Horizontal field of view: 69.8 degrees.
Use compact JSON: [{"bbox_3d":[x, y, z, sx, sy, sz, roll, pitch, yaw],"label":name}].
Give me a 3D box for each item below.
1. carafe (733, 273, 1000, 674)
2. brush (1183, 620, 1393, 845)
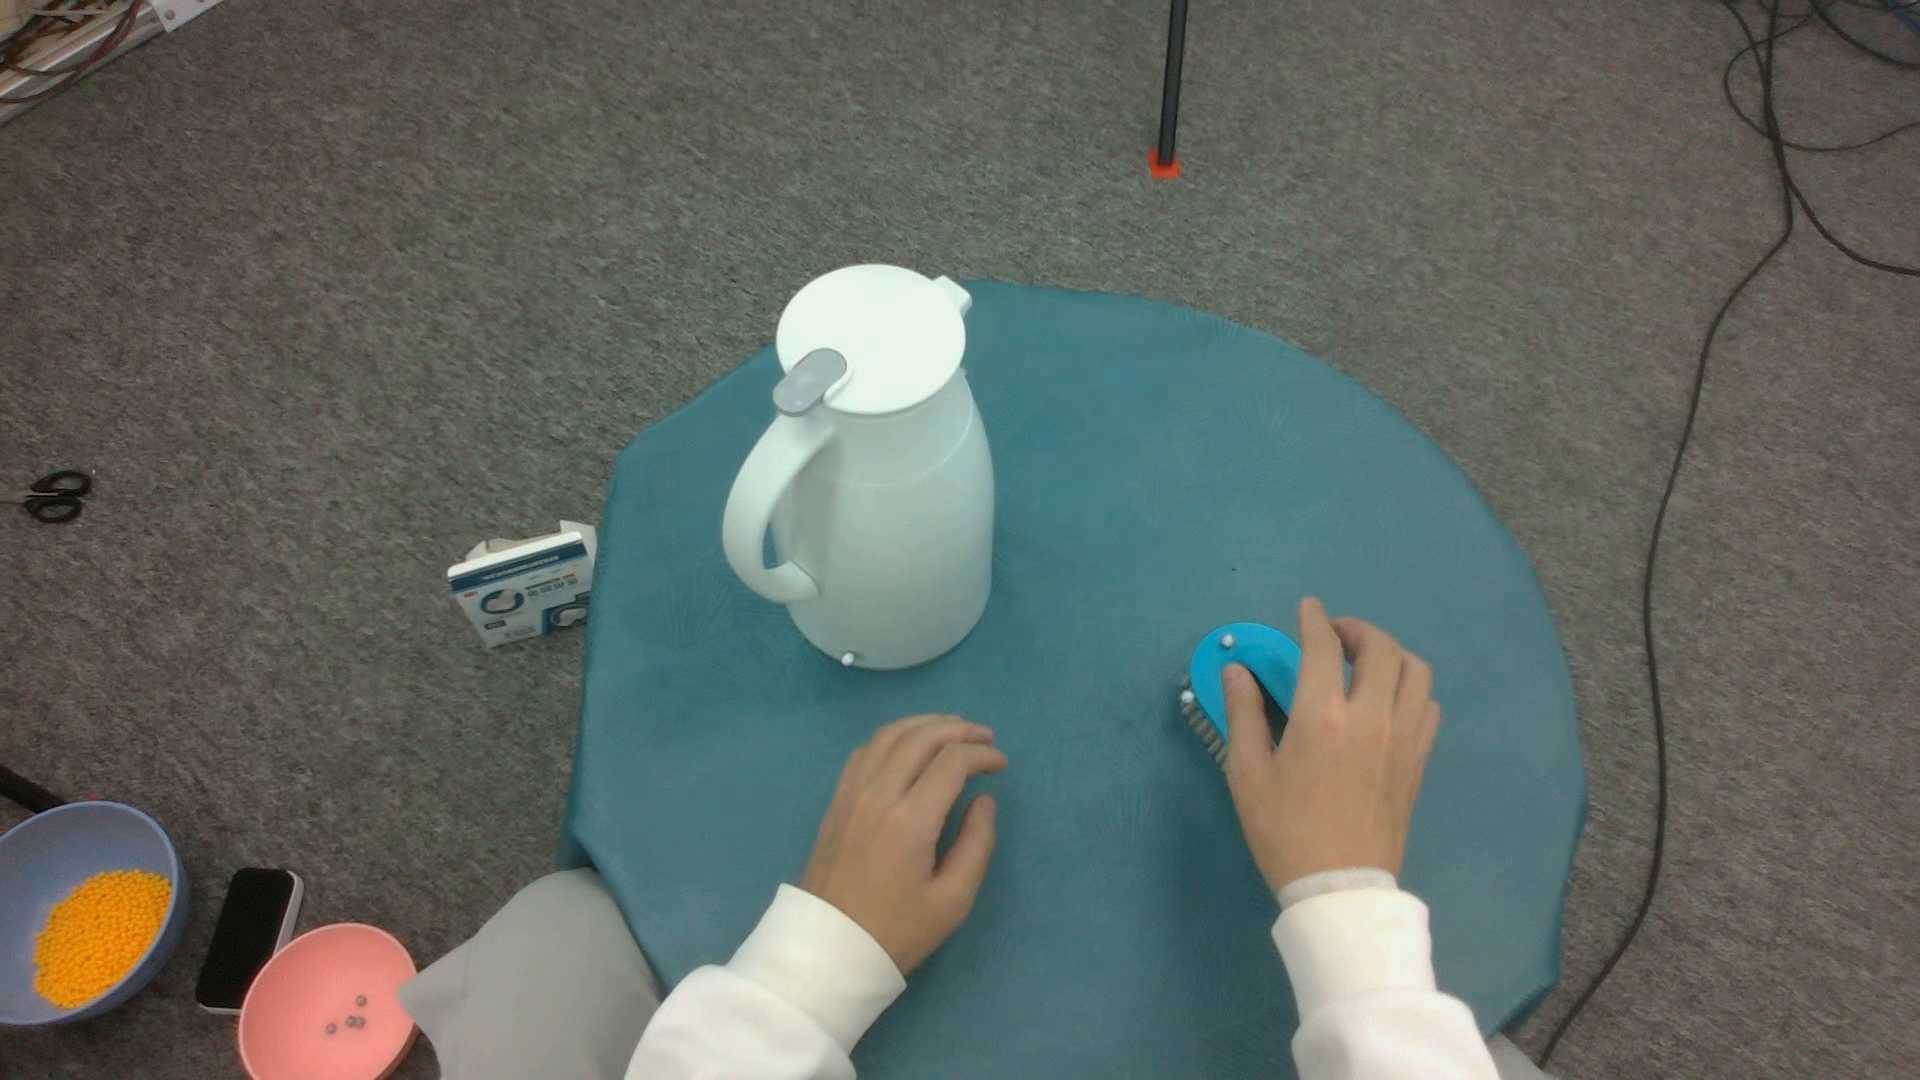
[{"bbox_3d":[-0.053,-0.024,0.767,0.132,0.247,0.168,36,66,20],"label":"carafe"},{"bbox_3d":[0.194,0.102,0.799,0.084,0.063,0.142,-24,62,-19],"label":"brush"}]
